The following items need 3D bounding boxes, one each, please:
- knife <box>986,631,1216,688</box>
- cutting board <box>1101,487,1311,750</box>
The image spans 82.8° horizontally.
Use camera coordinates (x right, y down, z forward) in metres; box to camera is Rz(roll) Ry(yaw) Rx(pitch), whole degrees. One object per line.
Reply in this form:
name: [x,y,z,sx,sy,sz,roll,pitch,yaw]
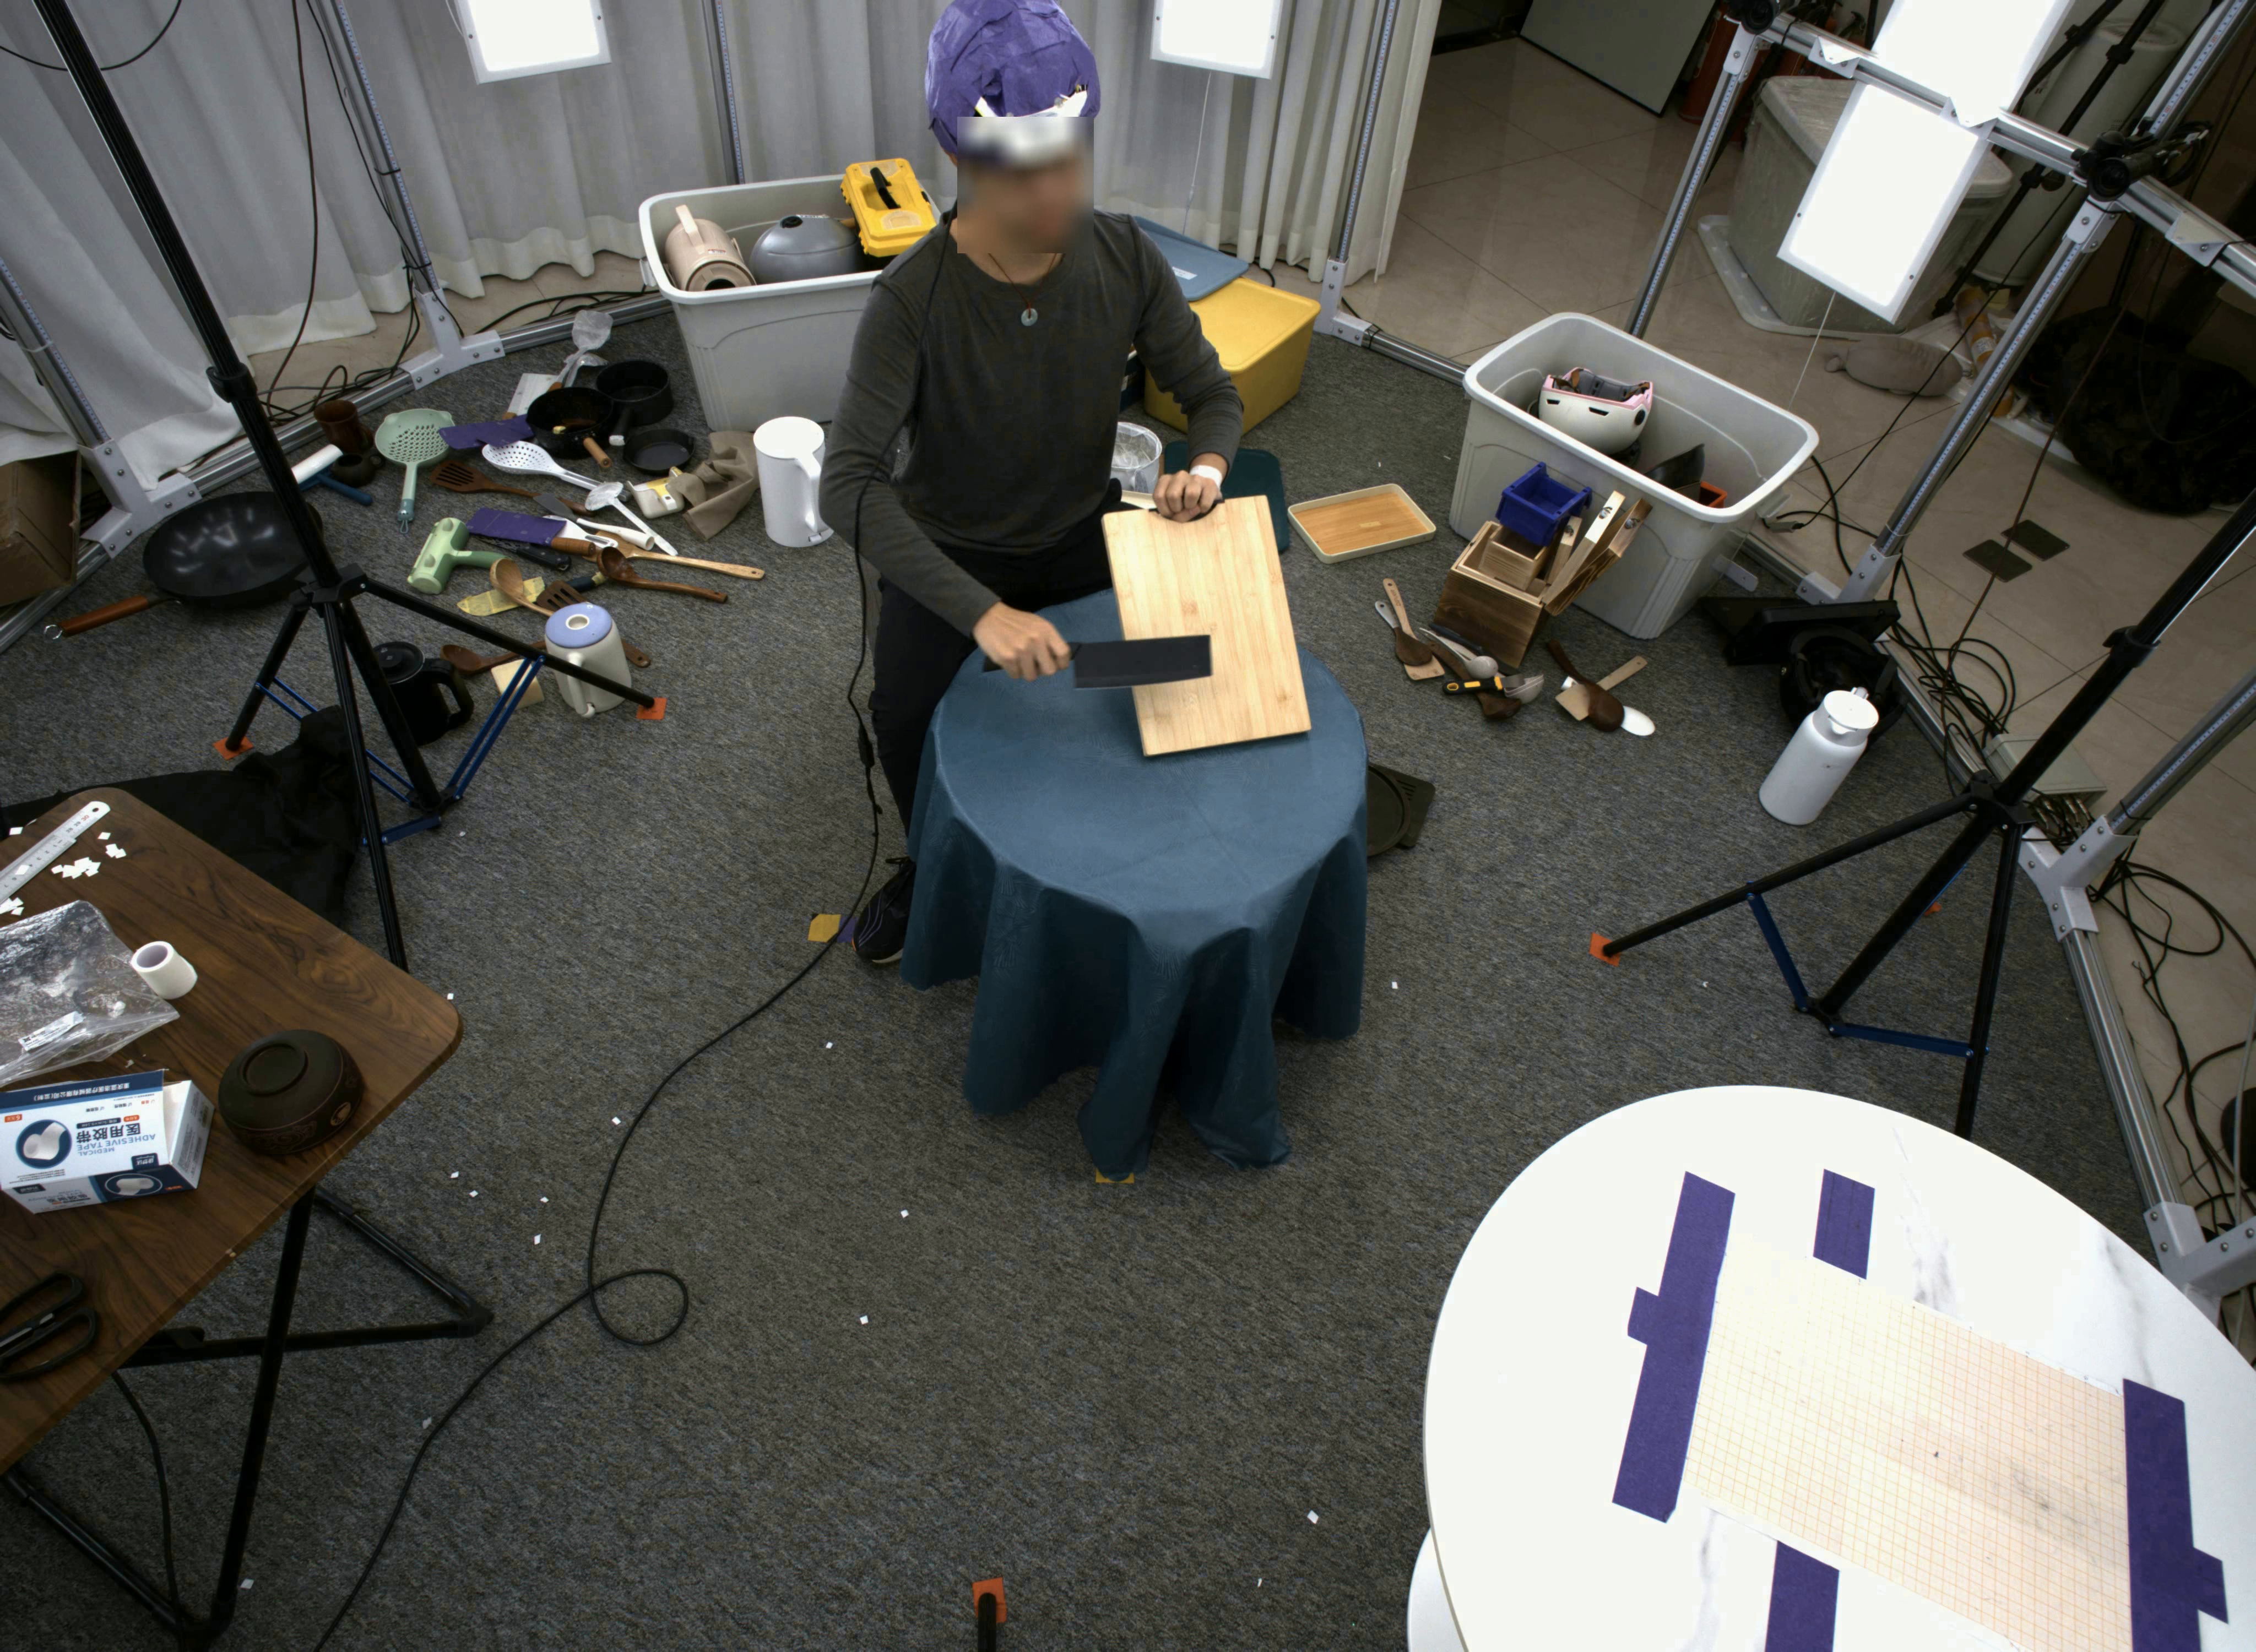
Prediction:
knife: [-0.036,-0.218,1.683,0.302,0.020,0.082,0,71,5]
cutting board: [0.108,-0.288,1.785,0.250,0.023,0.350,-10,85,-12]
